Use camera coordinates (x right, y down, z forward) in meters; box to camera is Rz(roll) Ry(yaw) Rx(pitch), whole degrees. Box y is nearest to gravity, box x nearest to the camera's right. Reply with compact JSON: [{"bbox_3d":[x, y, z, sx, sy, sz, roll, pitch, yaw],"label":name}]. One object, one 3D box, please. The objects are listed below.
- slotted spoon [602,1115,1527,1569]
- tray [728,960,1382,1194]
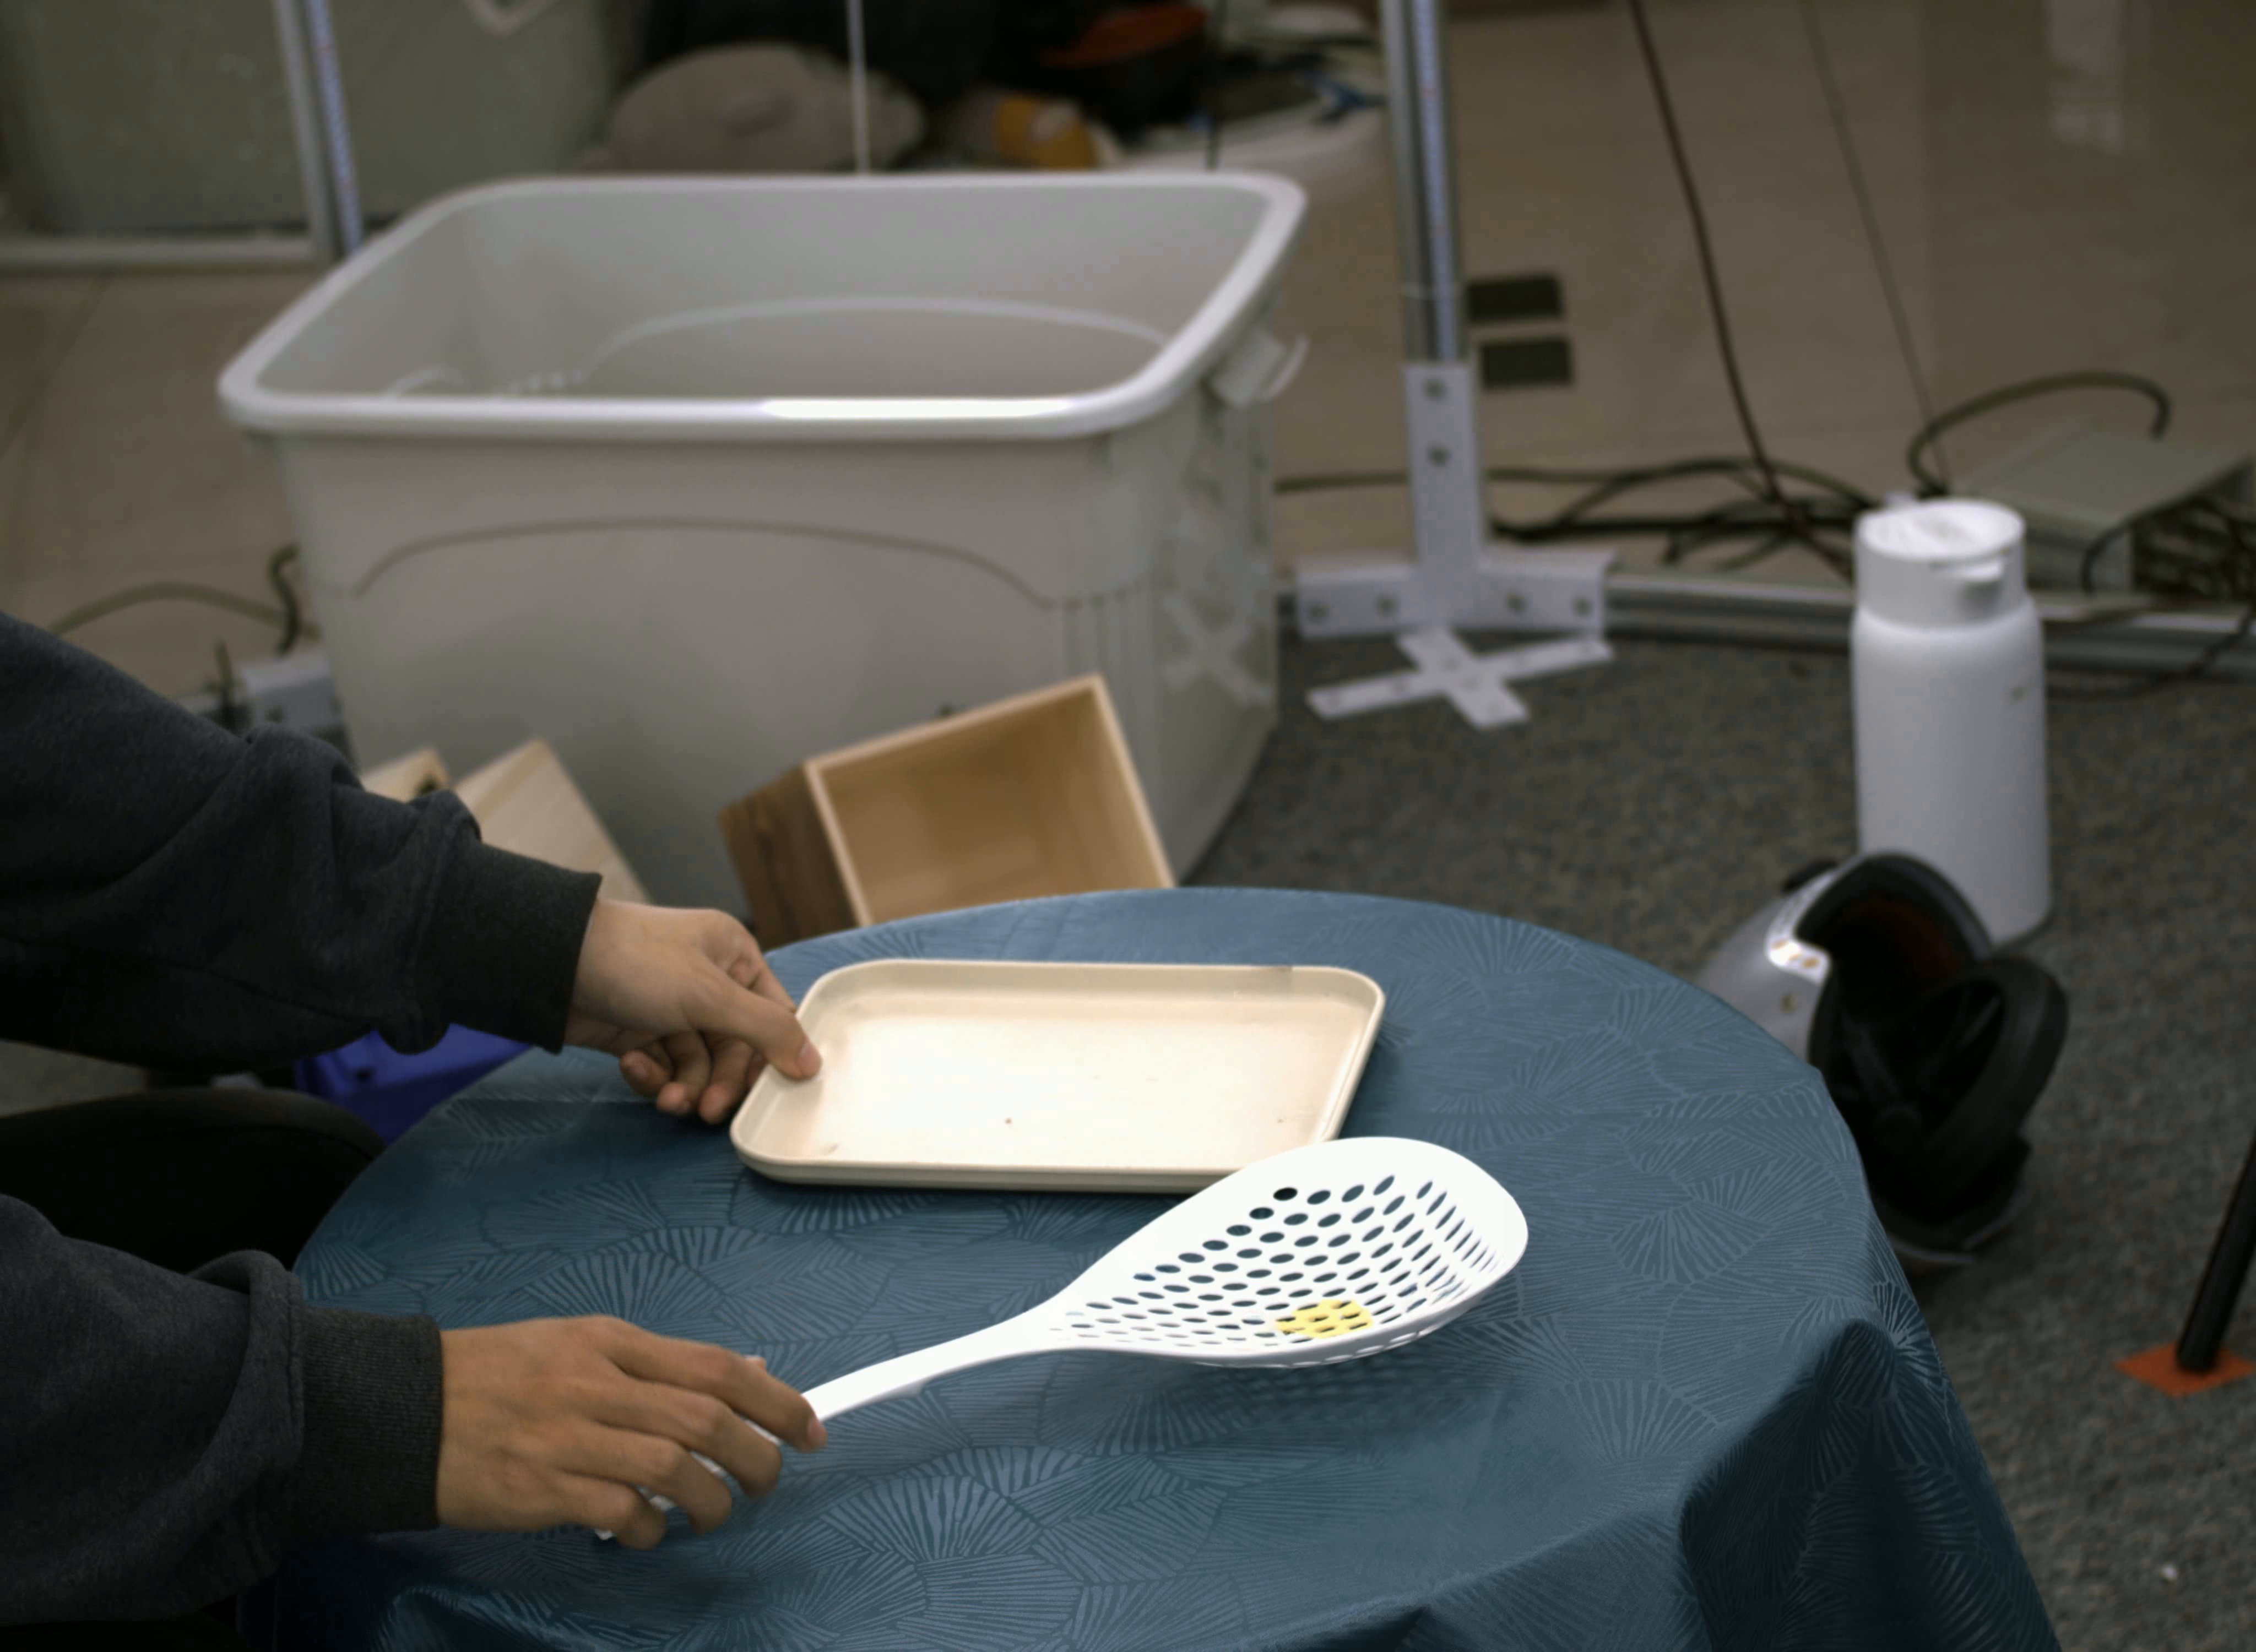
[{"bbox_3d":[-0.025,0.187,2.002,0.346,0.051,0.135,-15,30,-16],"label":"slotted spoon"},{"bbox_3d":[-0.027,0.098,2.217,0.239,0.018,0.169,1,27,14],"label":"tray"}]
